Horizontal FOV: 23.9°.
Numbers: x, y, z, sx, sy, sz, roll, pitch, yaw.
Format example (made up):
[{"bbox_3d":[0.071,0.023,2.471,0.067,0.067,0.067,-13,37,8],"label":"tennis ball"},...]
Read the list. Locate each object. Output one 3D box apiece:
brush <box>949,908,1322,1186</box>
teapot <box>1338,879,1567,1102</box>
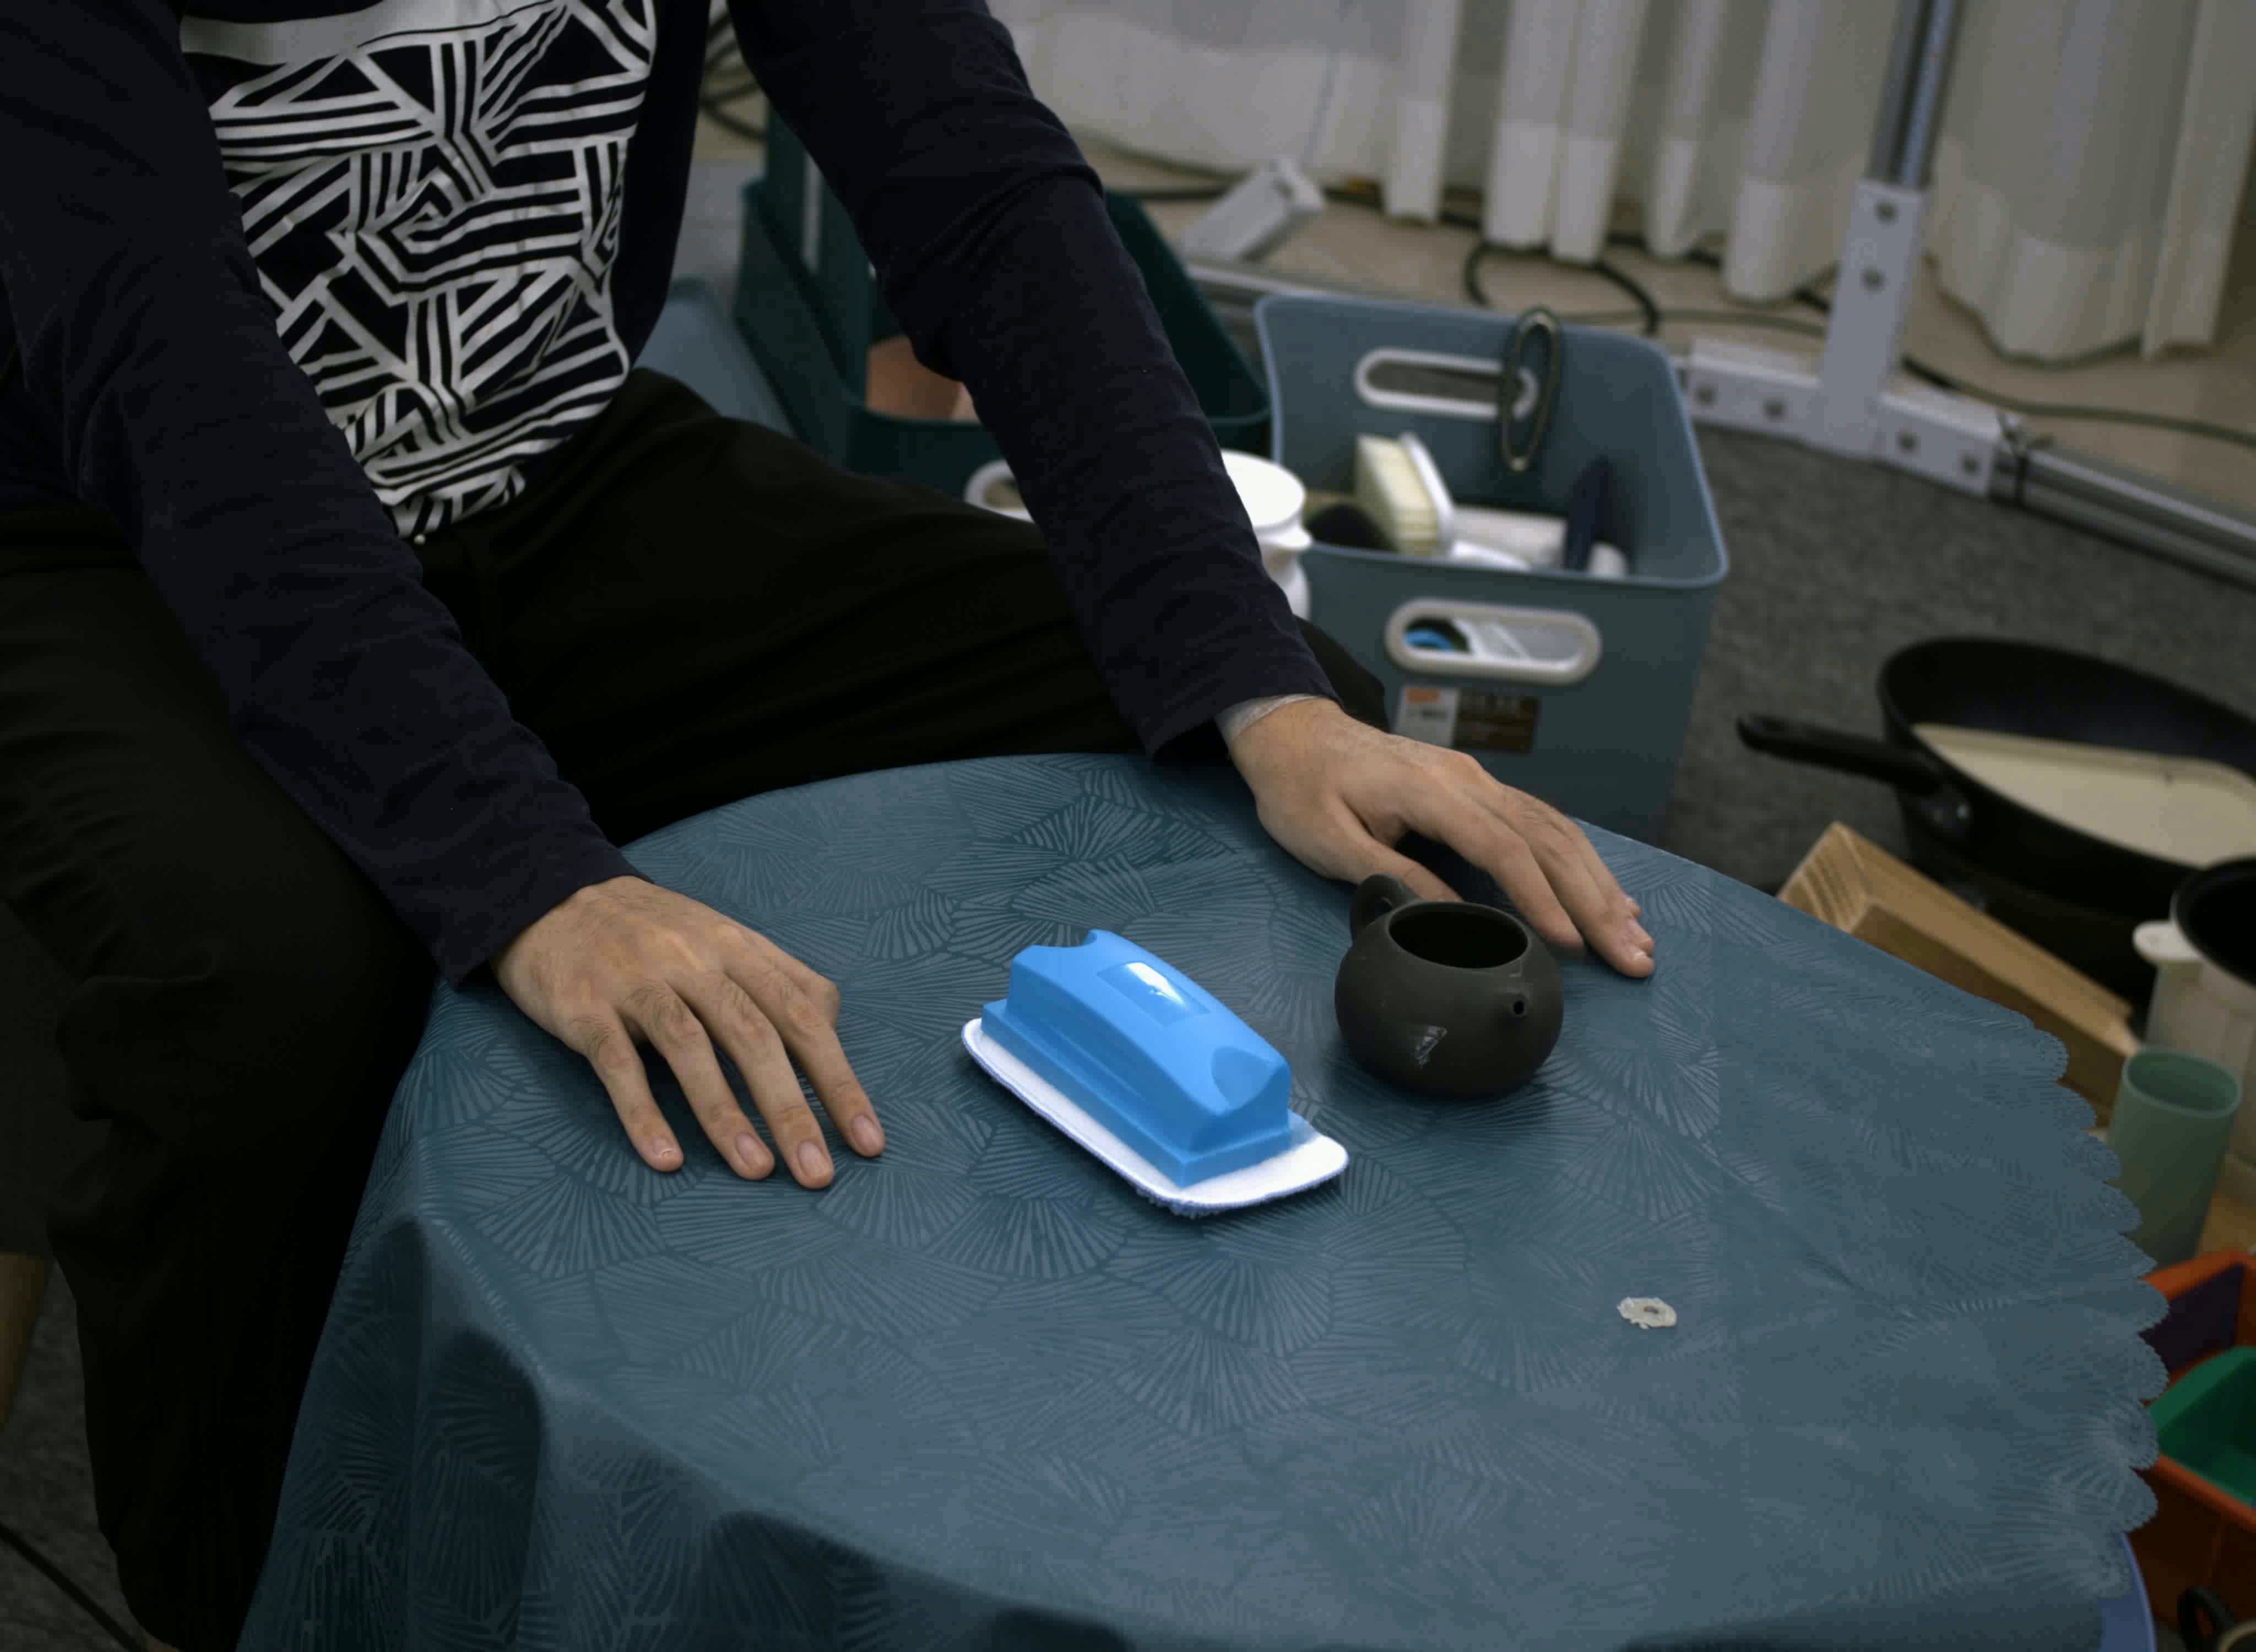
[{"bbox_3d":[0.005,0.072,1.843,0.083,0.056,0.145,-8,32,-34],"label":"brush"},{"bbox_3d":[0.112,0.057,1.909,0.082,0.053,0.115,-2,30,-24],"label":"teapot"}]
